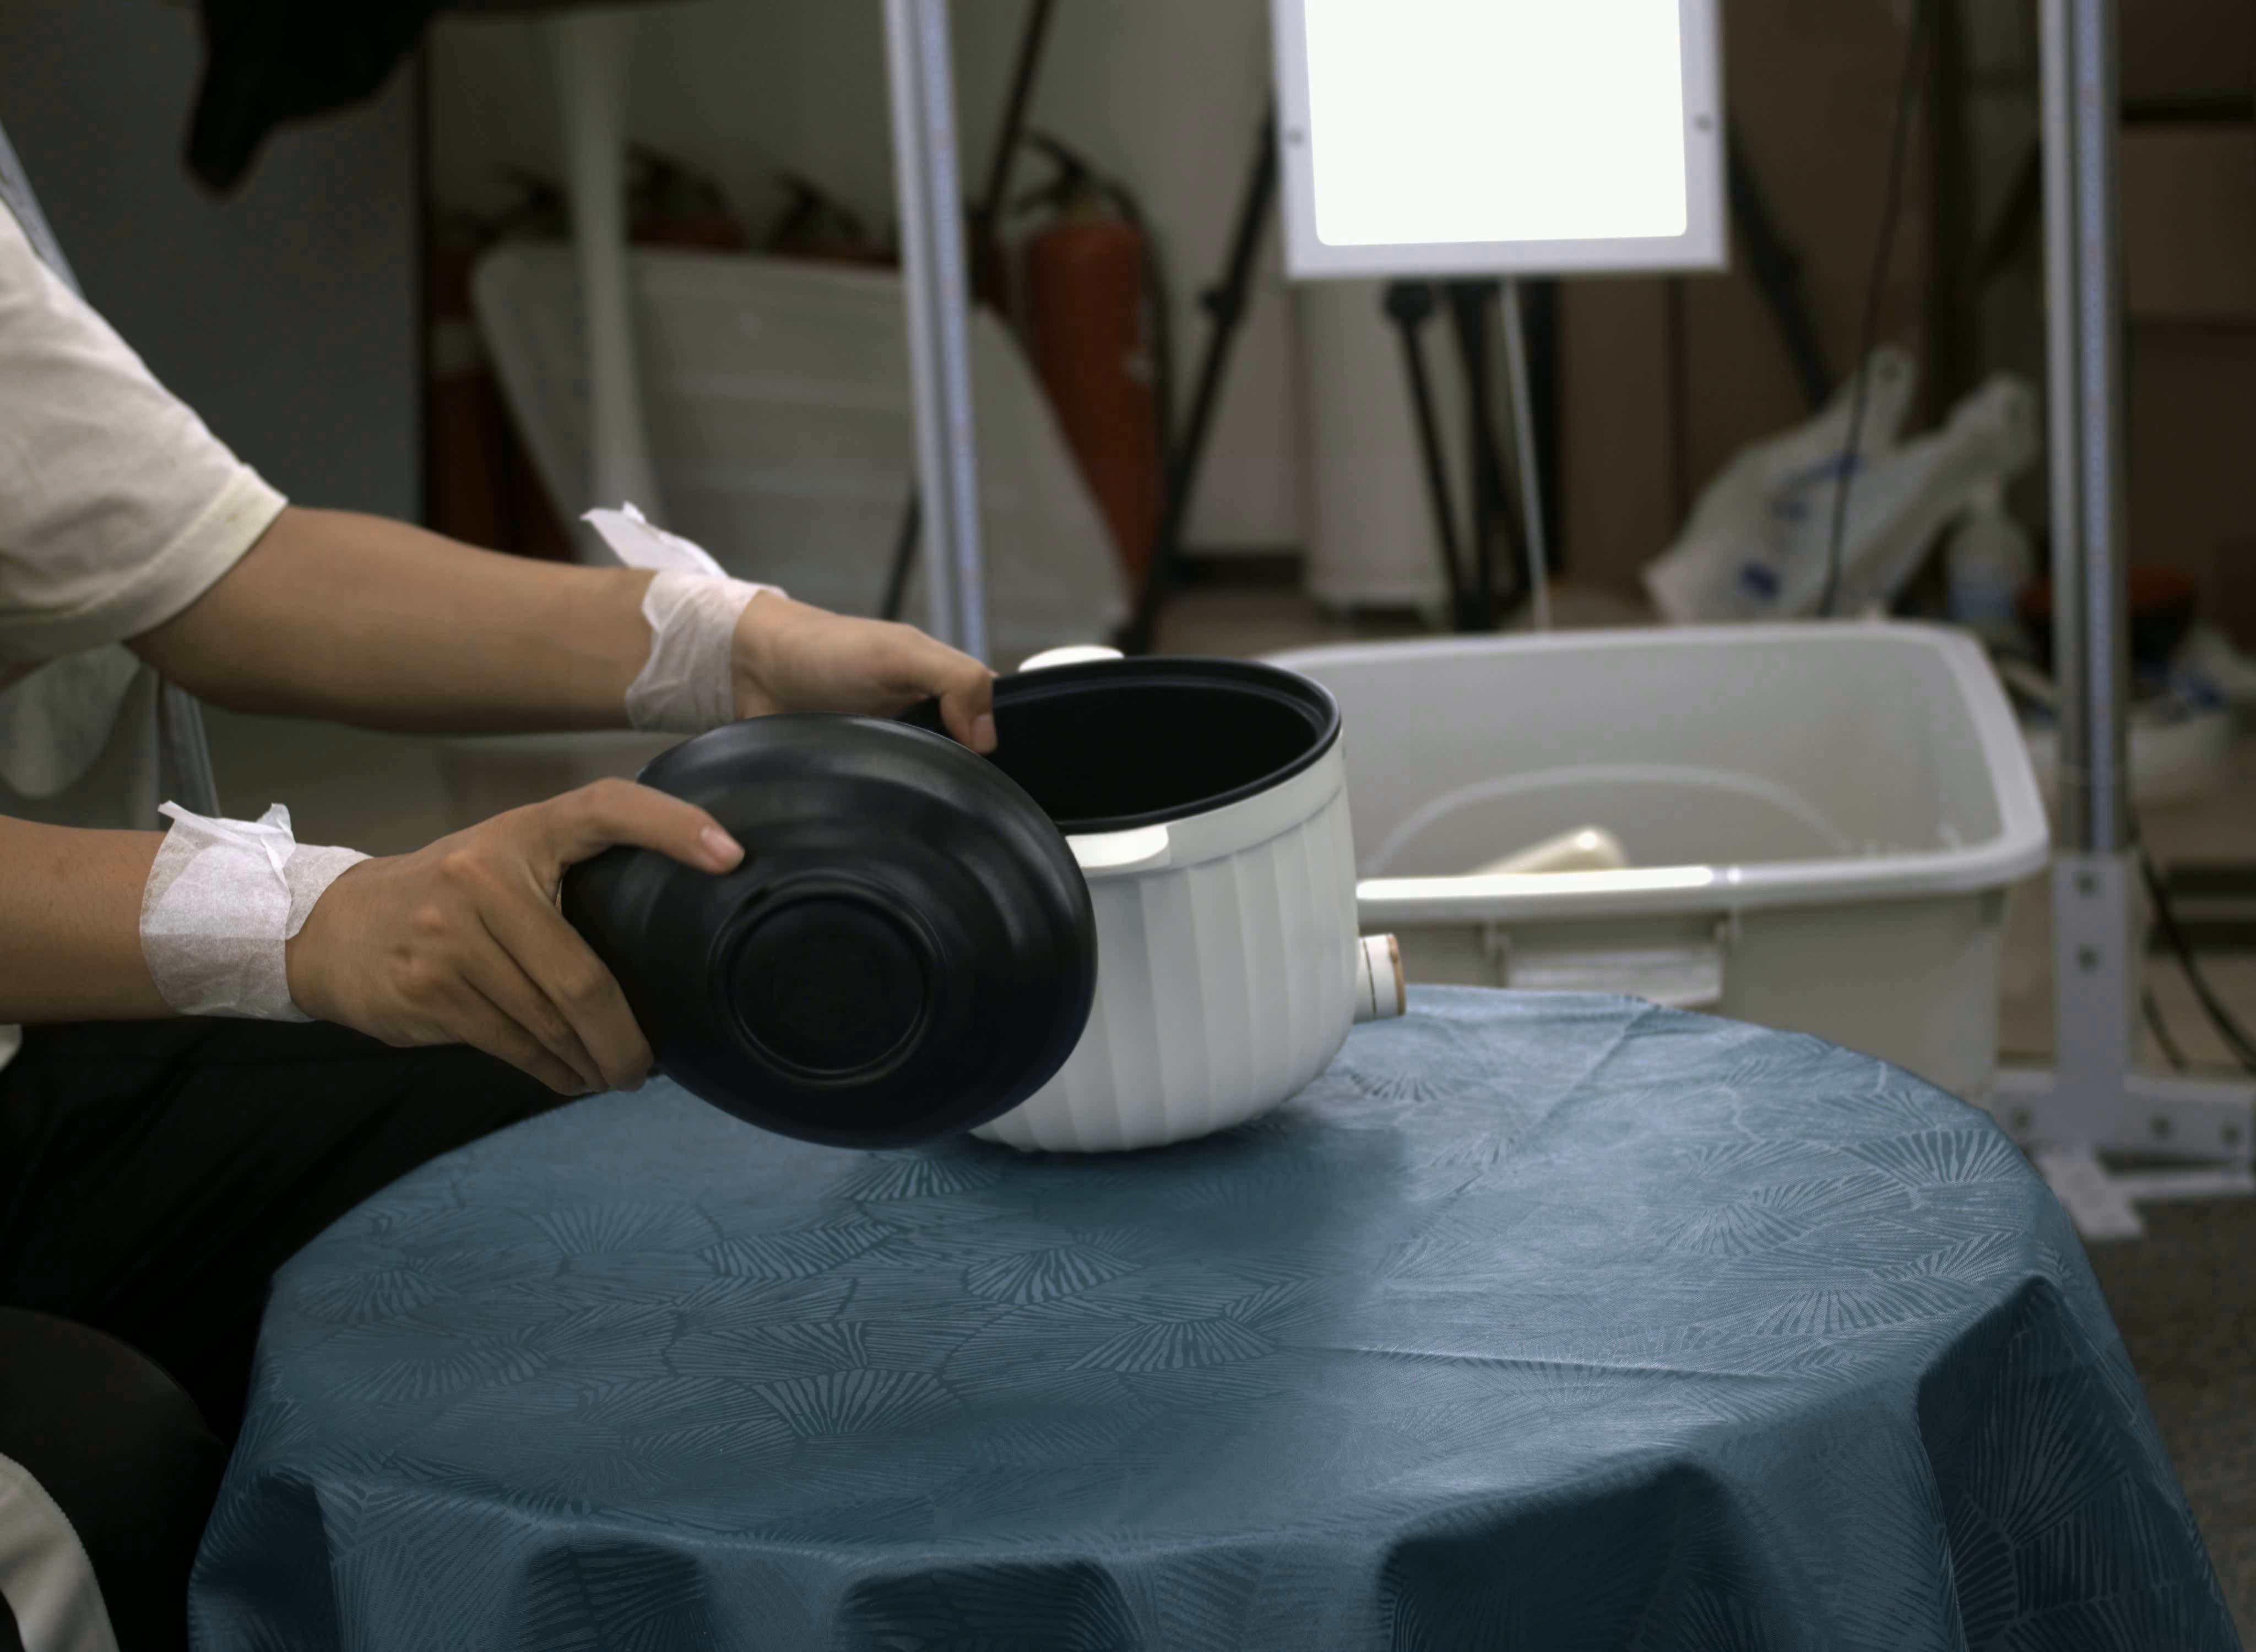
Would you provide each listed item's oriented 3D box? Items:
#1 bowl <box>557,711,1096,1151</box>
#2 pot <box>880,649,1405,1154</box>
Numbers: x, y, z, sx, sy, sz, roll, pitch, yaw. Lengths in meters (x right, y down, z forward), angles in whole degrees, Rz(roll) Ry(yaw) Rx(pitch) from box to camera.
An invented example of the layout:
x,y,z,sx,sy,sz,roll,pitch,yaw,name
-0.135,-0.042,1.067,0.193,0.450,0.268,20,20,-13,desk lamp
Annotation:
x,y,z,sx,sy,sz,roll,pitch,yaw,name
-0.090,0.038,1.680,0.169,0.138,0.066,20,16,-7,bowl
-0.002,0.030,1.975,0.190,0.143,0.240,-12,20,0,pot
